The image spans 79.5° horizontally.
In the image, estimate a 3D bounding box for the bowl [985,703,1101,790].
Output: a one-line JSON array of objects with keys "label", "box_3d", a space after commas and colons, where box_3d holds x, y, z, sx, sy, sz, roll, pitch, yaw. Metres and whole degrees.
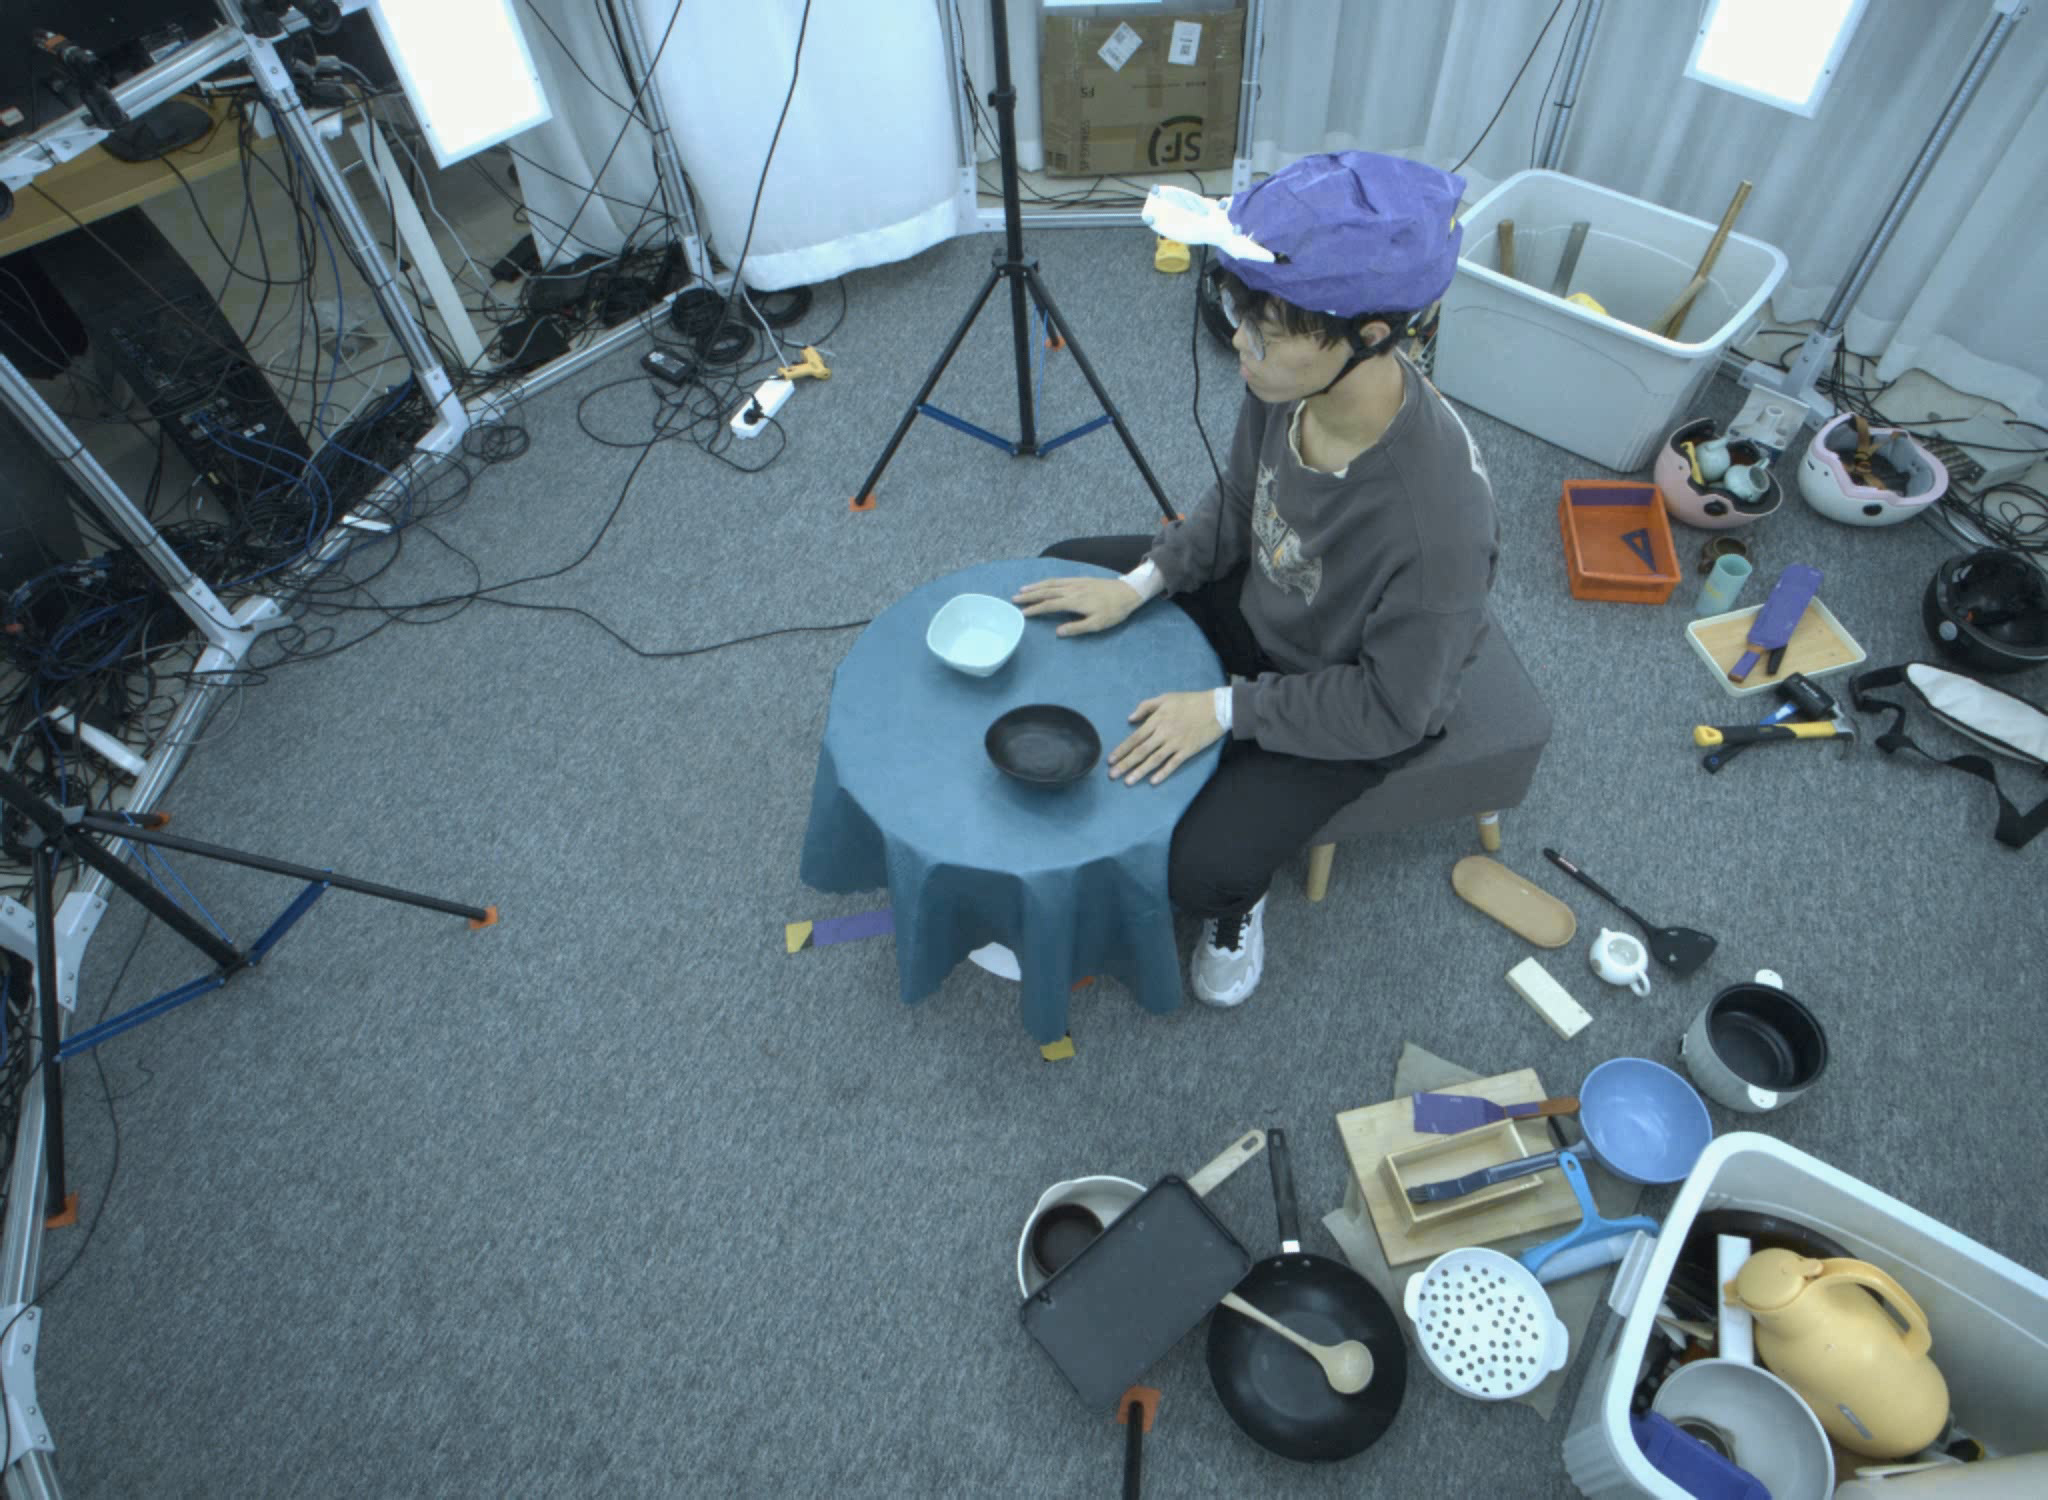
[{"label": "bowl", "box_3d": [0.026, 0.006, 1.741, 0.168, 0.067, 0.137, 13, 56, 13]}]

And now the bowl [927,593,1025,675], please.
[{"label": "bowl", "box_3d": [-0.071, -0.167, 1.872, 0.151, 0.059, 0.150, -1, 56, 3]}]
